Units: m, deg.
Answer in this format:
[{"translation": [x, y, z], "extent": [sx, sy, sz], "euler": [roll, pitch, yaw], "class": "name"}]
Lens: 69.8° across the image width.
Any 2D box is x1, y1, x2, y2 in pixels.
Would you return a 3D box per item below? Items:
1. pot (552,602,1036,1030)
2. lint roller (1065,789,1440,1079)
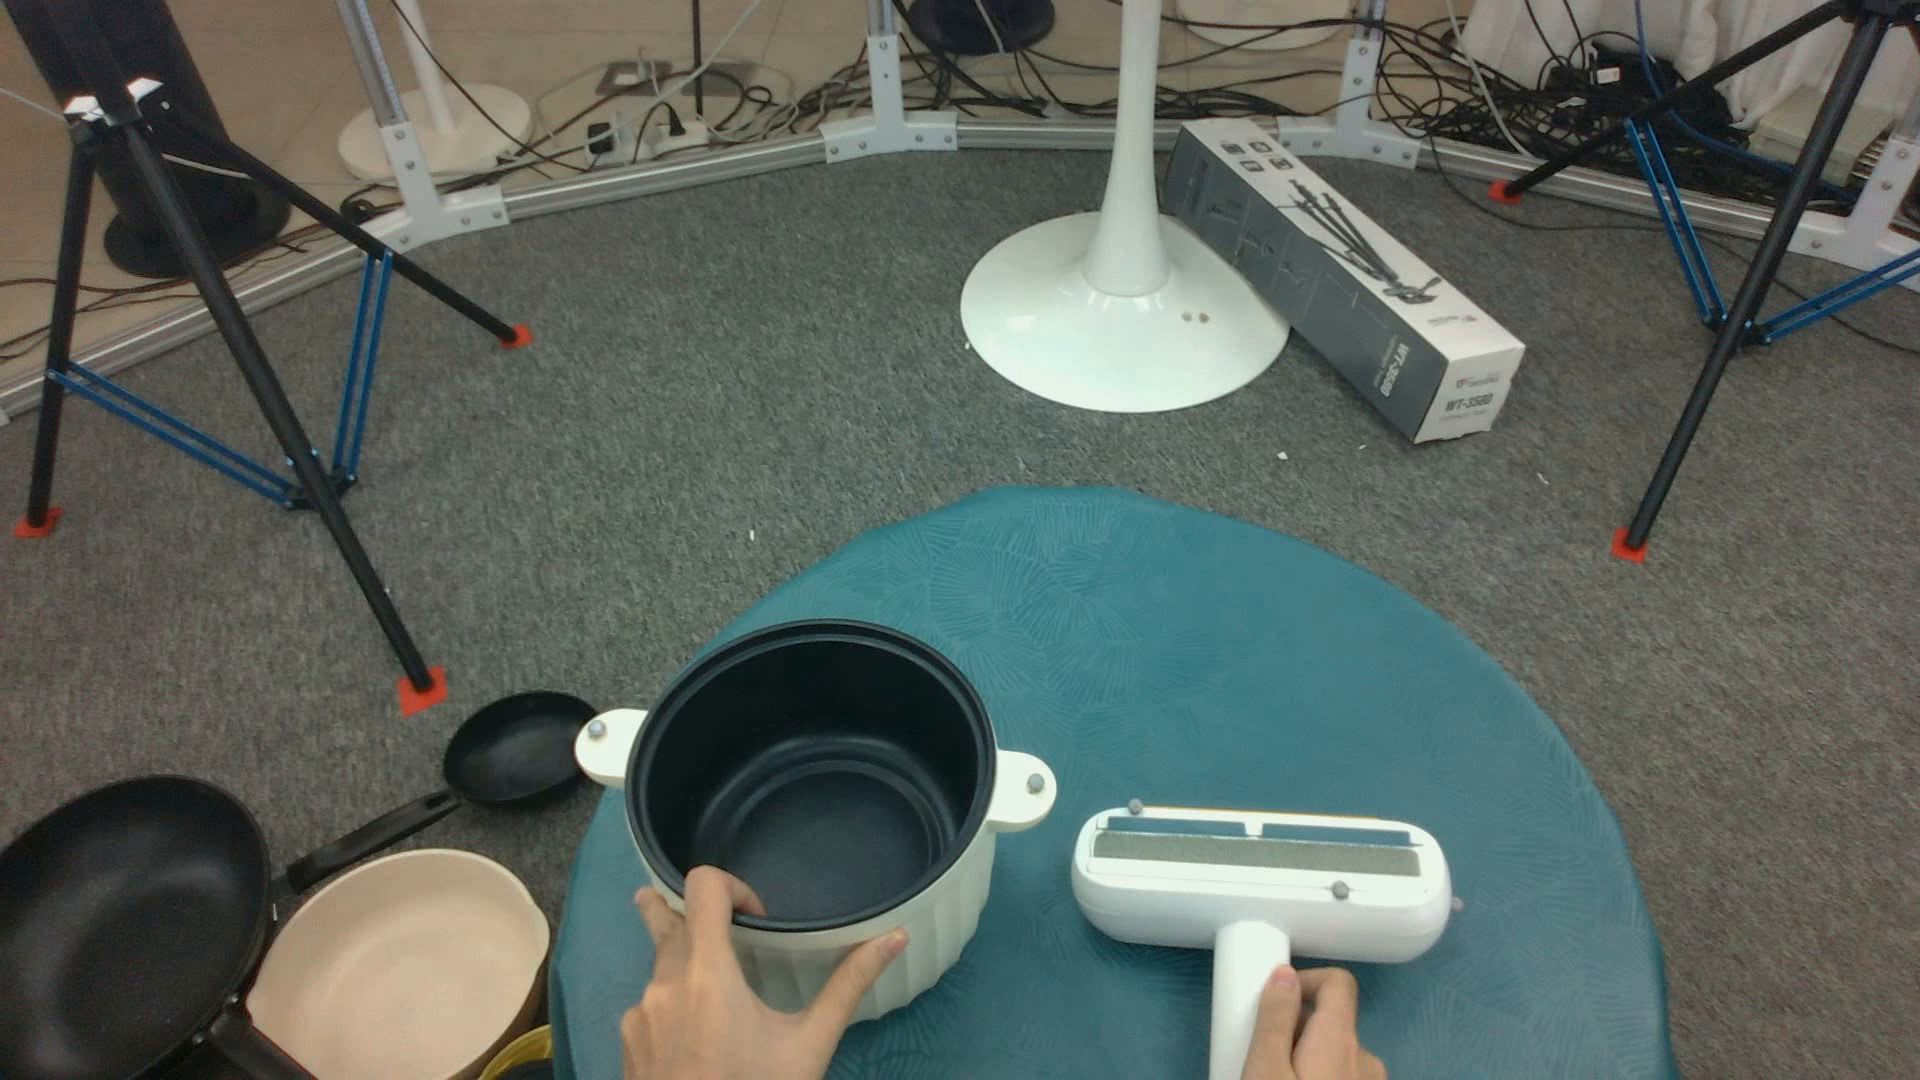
[{"translation": [-0.082, 0.140, 0.723], "extent": [0.240, 0.142, 0.191], "euler": [6, 49, 5], "class": "pot"}, {"translation": [0.137, 0.215, 0.691], "extent": [0.192, 0.074, 0.193], "euler": [6, 42, 15], "class": "lint roller"}]
